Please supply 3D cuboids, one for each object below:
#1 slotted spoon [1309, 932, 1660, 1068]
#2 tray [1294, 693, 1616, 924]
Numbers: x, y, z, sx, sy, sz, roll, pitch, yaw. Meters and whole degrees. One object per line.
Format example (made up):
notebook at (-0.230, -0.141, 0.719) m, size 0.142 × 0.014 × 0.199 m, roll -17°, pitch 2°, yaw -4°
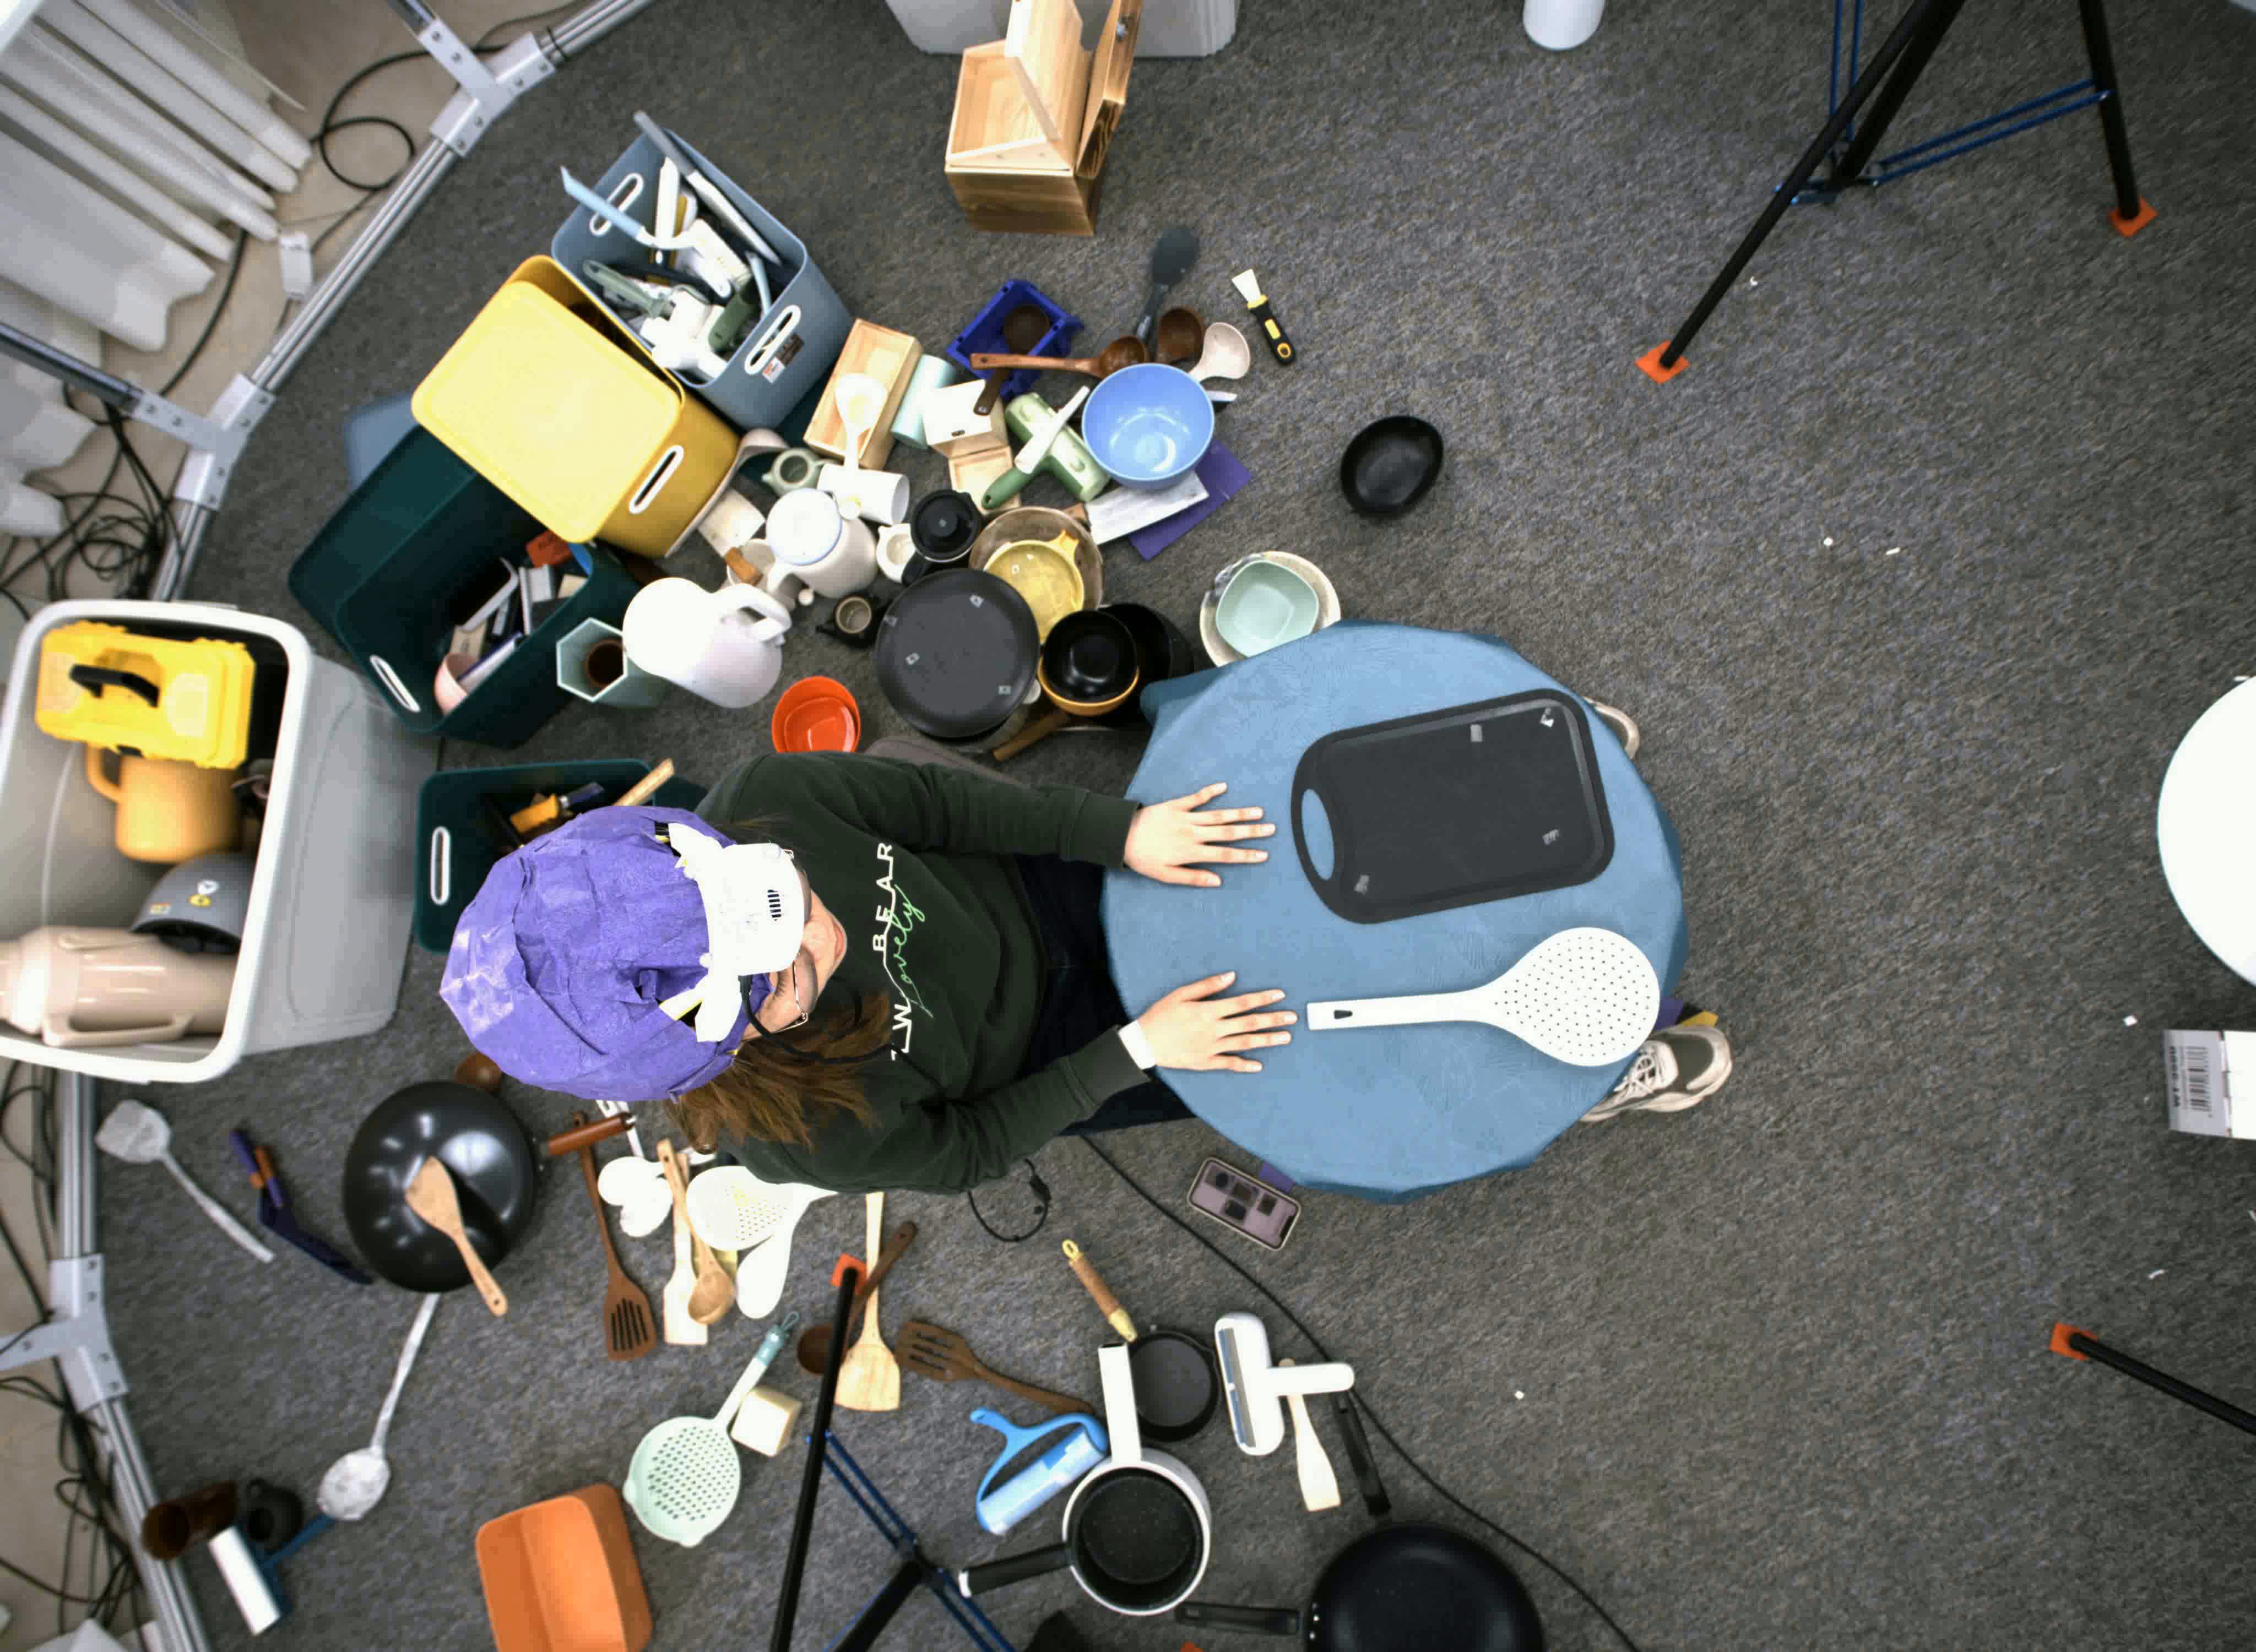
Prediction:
slotted spoon at (0.361, 0.184, 1.417) m, size 0.351 × 0.046 × 0.135 m, roll -5°, pitch 83°, yaw 11°
tray at (0.339, -0.018, 1.455) m, size 0.327 × 0.010 × 0.210 m, roll -11°, pitch 84°, yaw 10°
